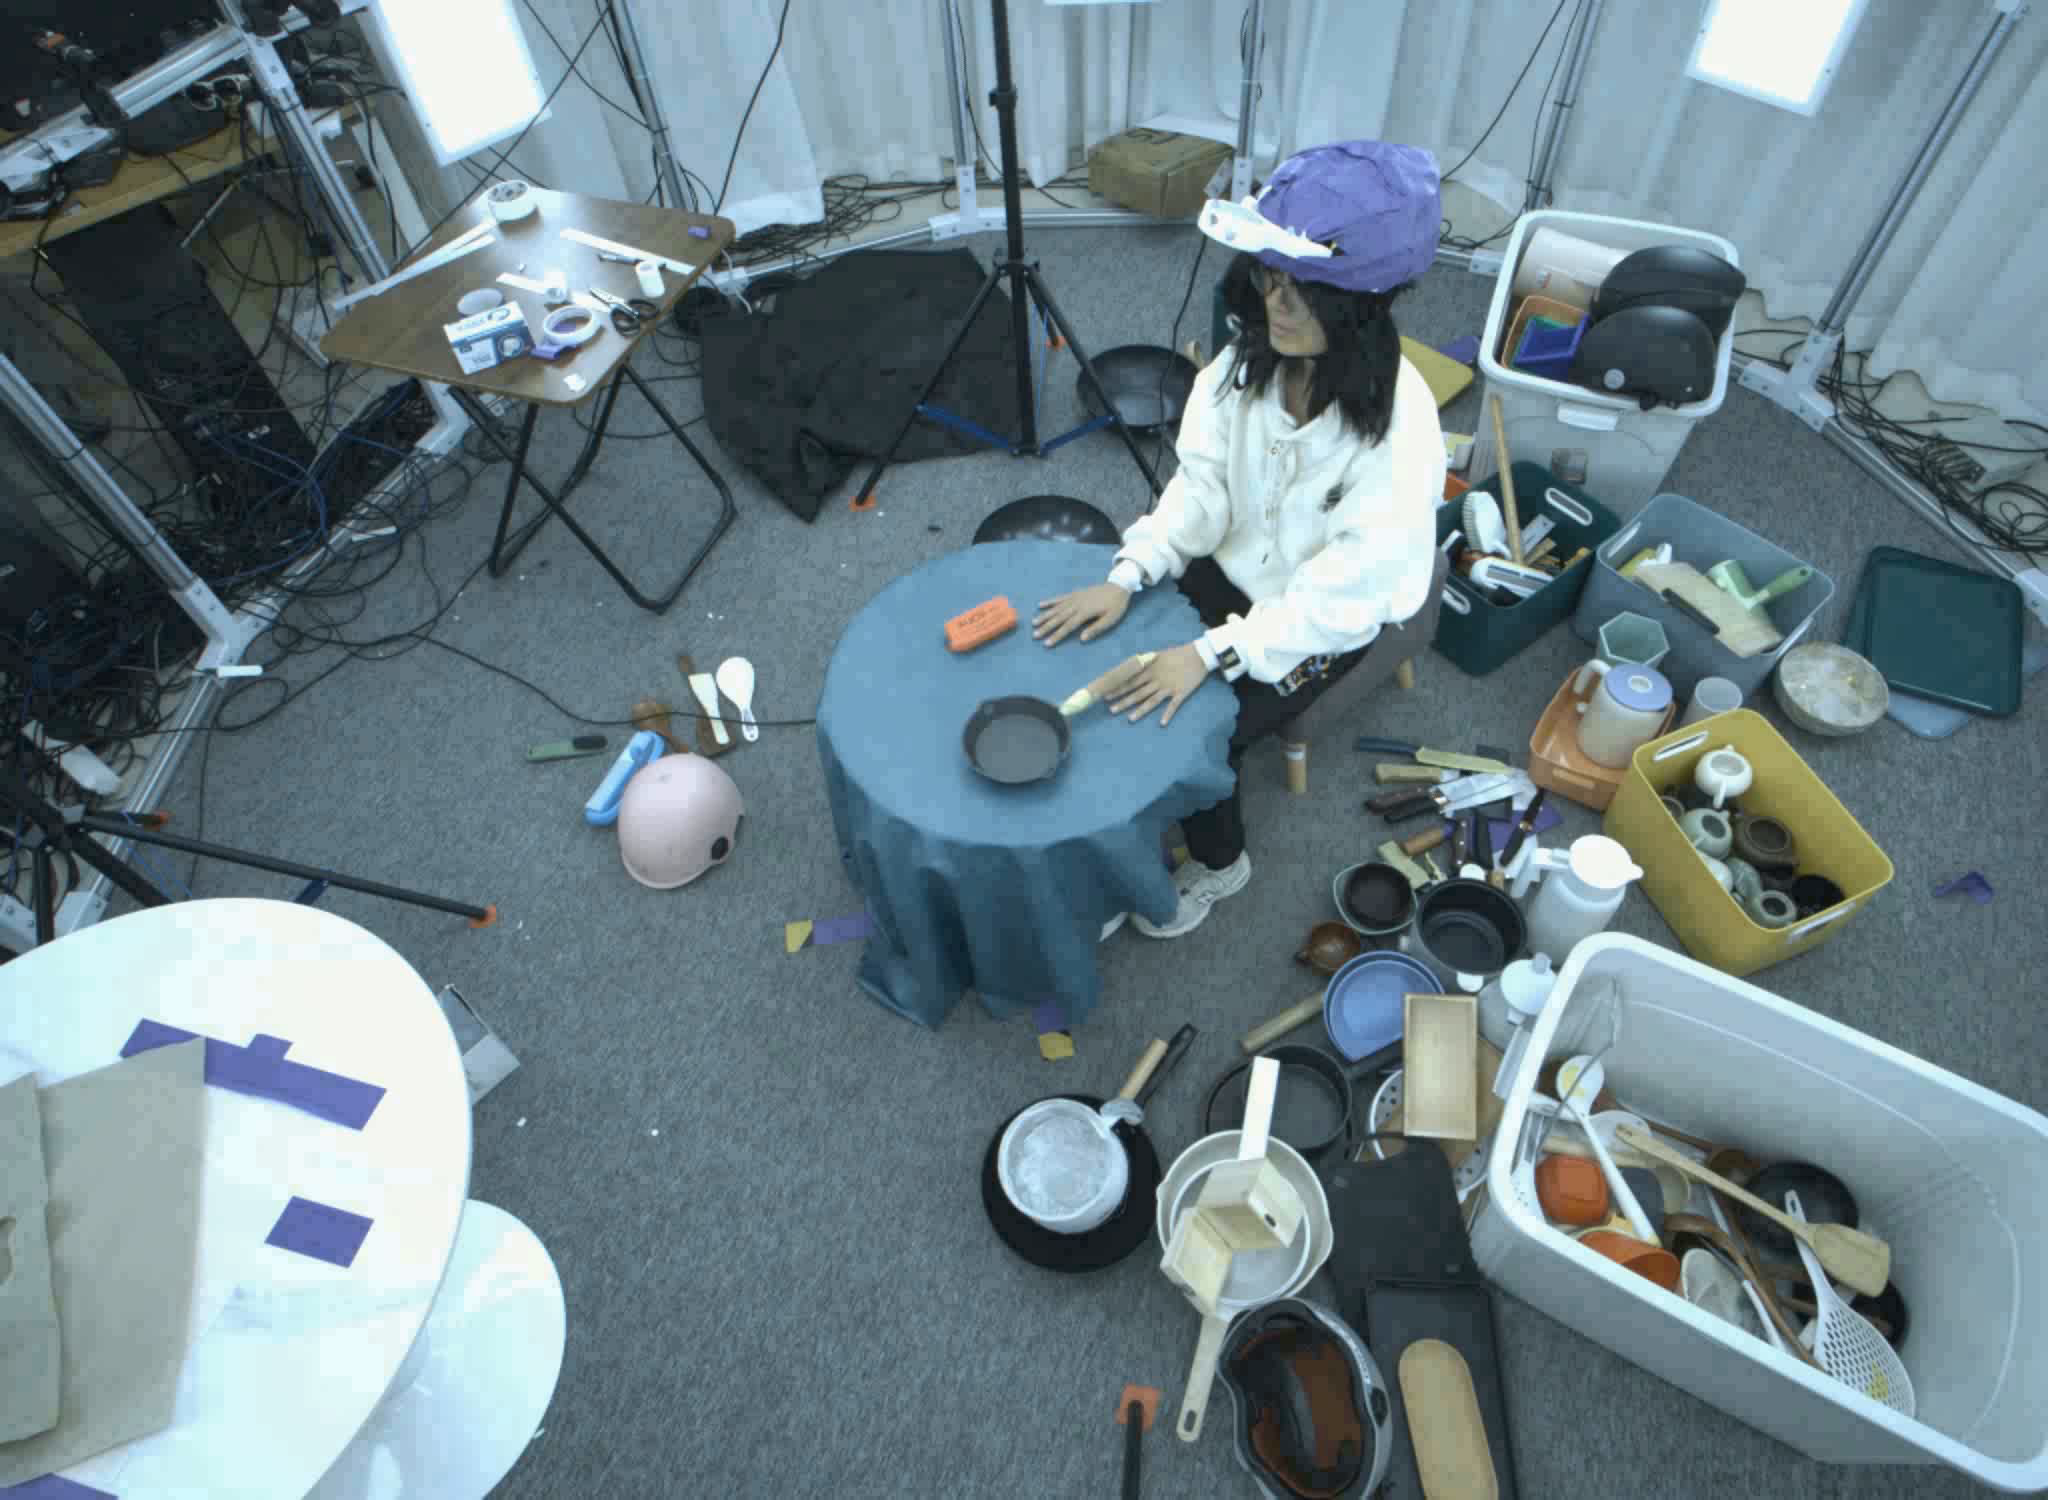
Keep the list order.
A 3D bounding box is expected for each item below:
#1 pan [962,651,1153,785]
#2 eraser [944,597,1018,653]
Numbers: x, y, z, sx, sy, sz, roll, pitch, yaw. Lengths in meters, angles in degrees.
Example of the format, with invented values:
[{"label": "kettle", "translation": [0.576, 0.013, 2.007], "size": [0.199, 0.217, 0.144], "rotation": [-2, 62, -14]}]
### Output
[{"label": "pan", "translation": [0.060, -0.055, 1.794], "size": [0.326, 0.050, 0.166], "rotation": [-31, 59, -17]}, {"label": "eraser", "translation": [-0.068, -0.195, 1.913], "size": [0.109, 0.023, 0.058], "rotation": [-28, 59, -17]}]
